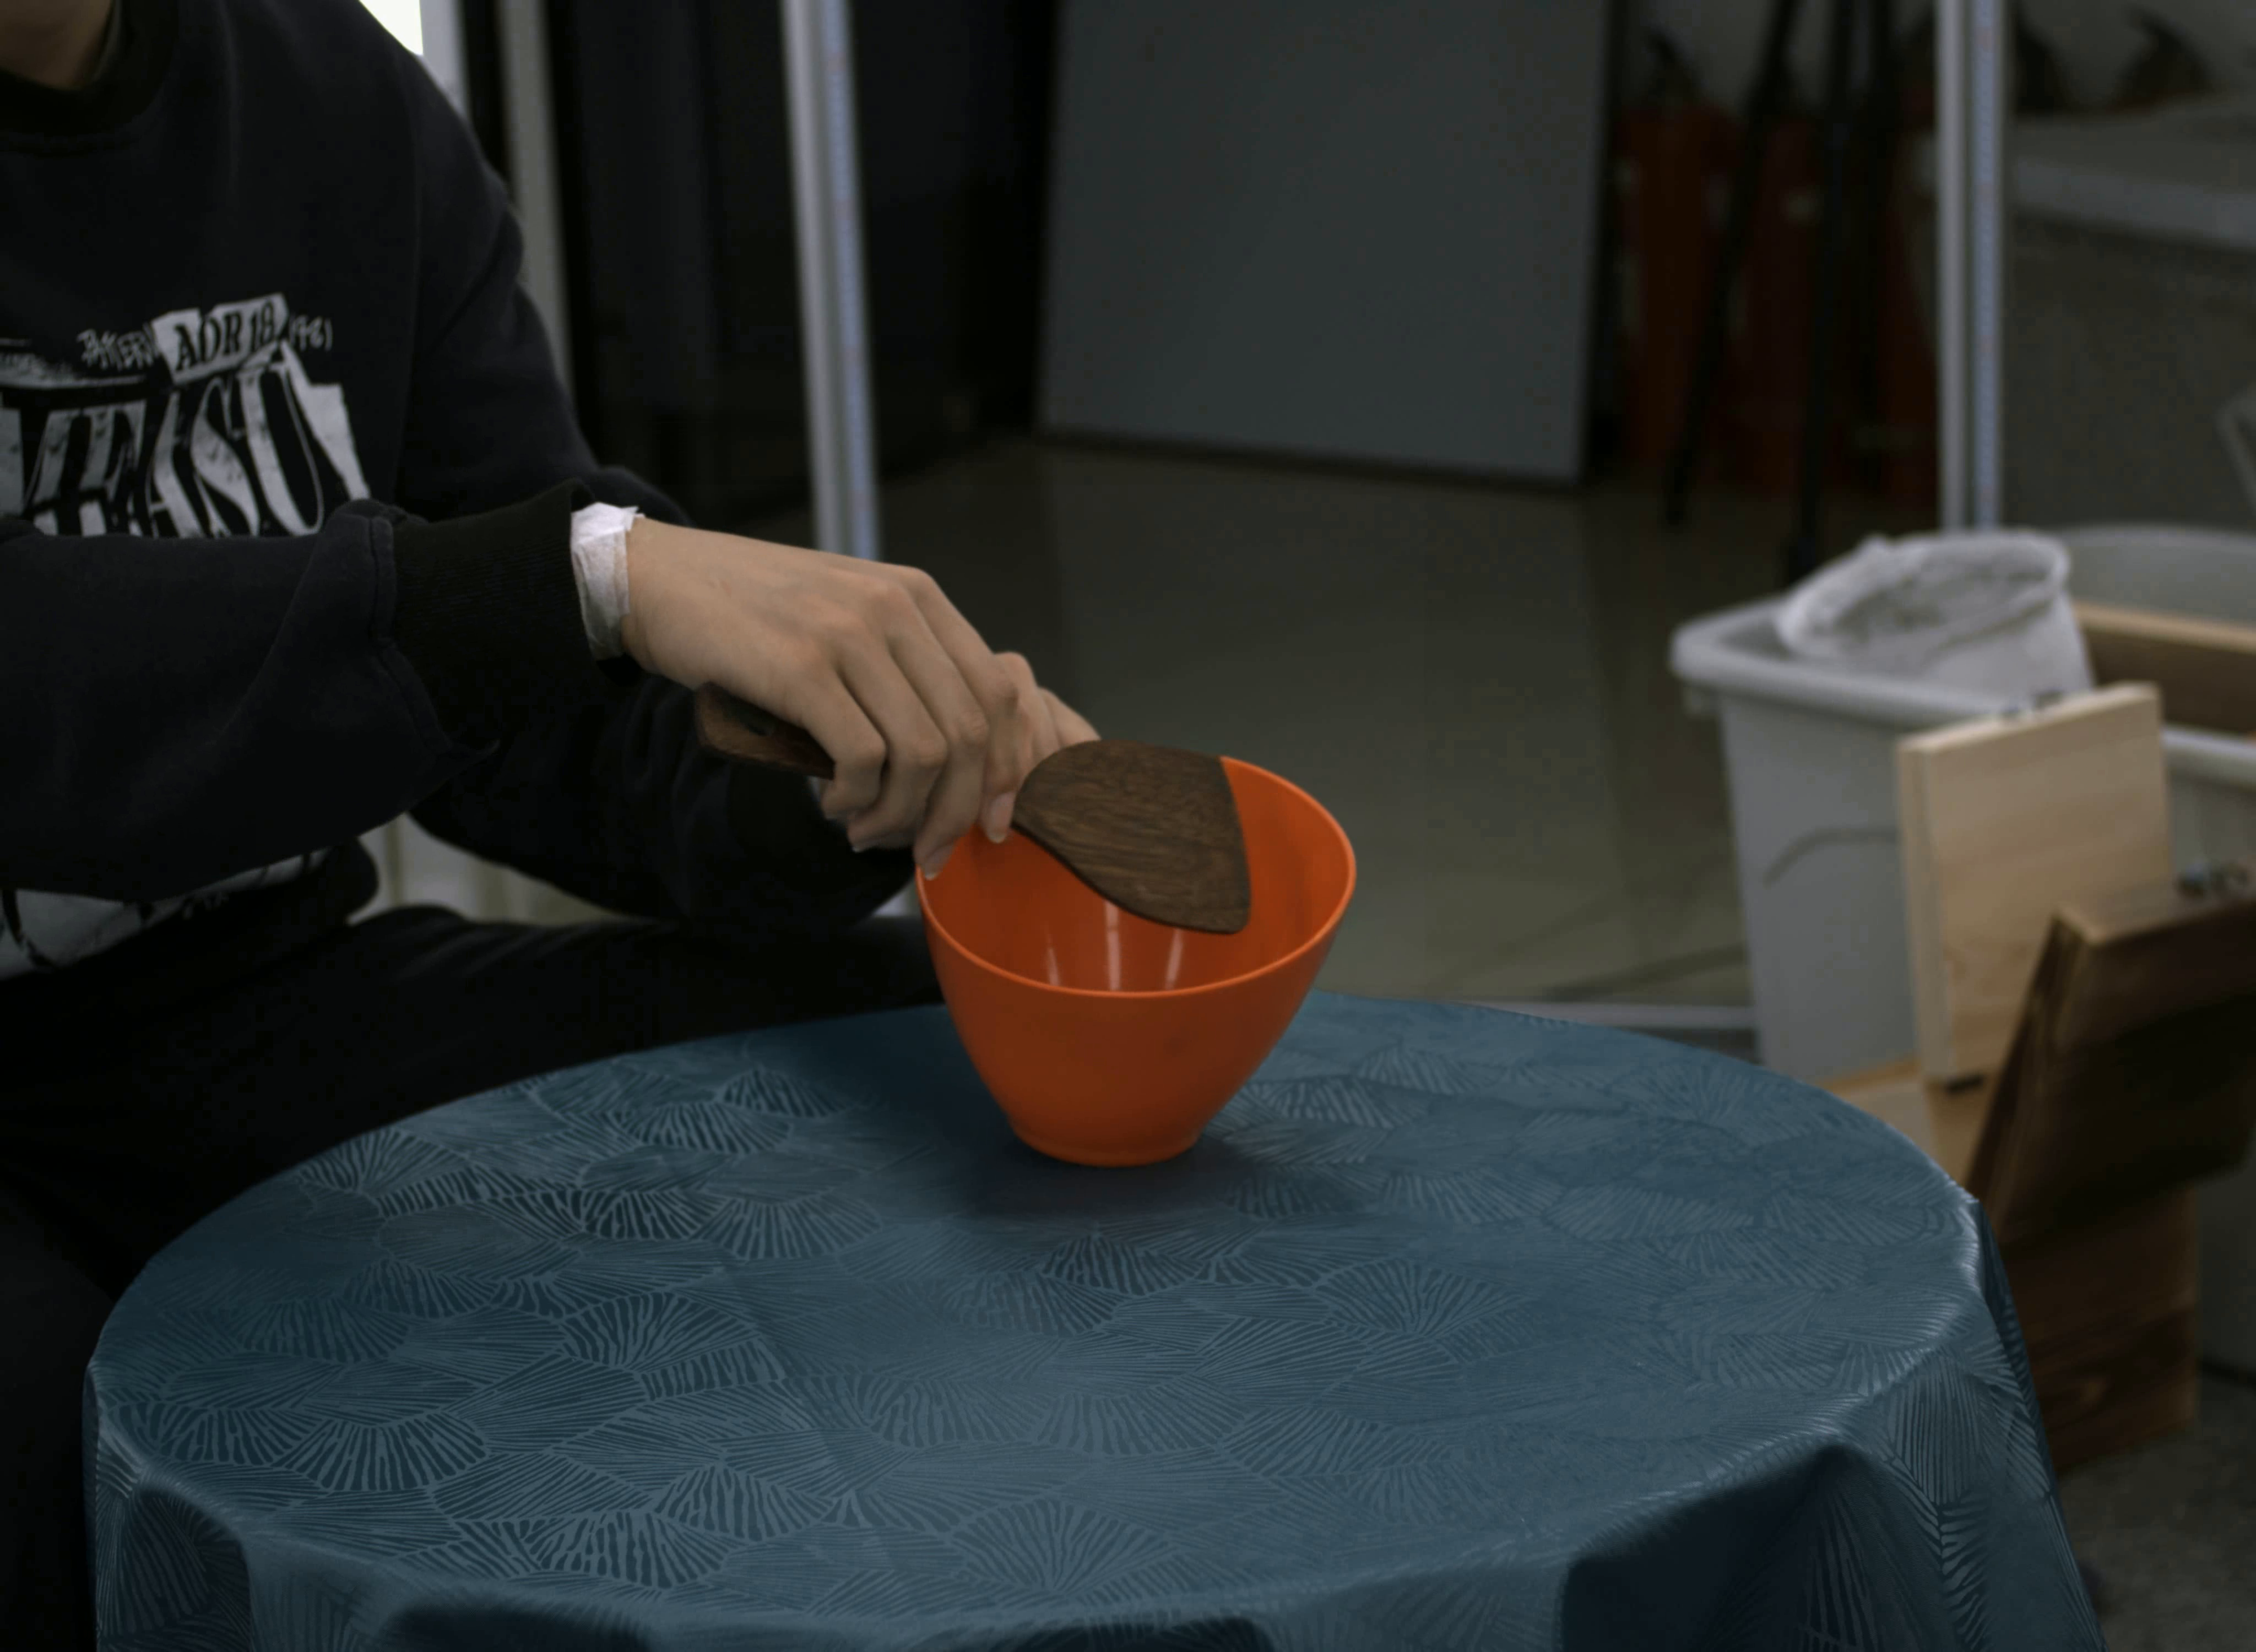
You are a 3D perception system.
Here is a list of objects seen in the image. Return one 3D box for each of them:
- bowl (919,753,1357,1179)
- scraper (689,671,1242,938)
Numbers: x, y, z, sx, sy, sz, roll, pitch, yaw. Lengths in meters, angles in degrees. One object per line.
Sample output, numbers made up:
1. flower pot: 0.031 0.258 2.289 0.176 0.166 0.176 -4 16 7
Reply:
1. bowl: 0.001 0.053 1.811 0.146 0.106 0.148 3 24 -2
2. scraper: -0.052 -0.015 1.761 0.206 0.077 0.011 16 -39 -30
